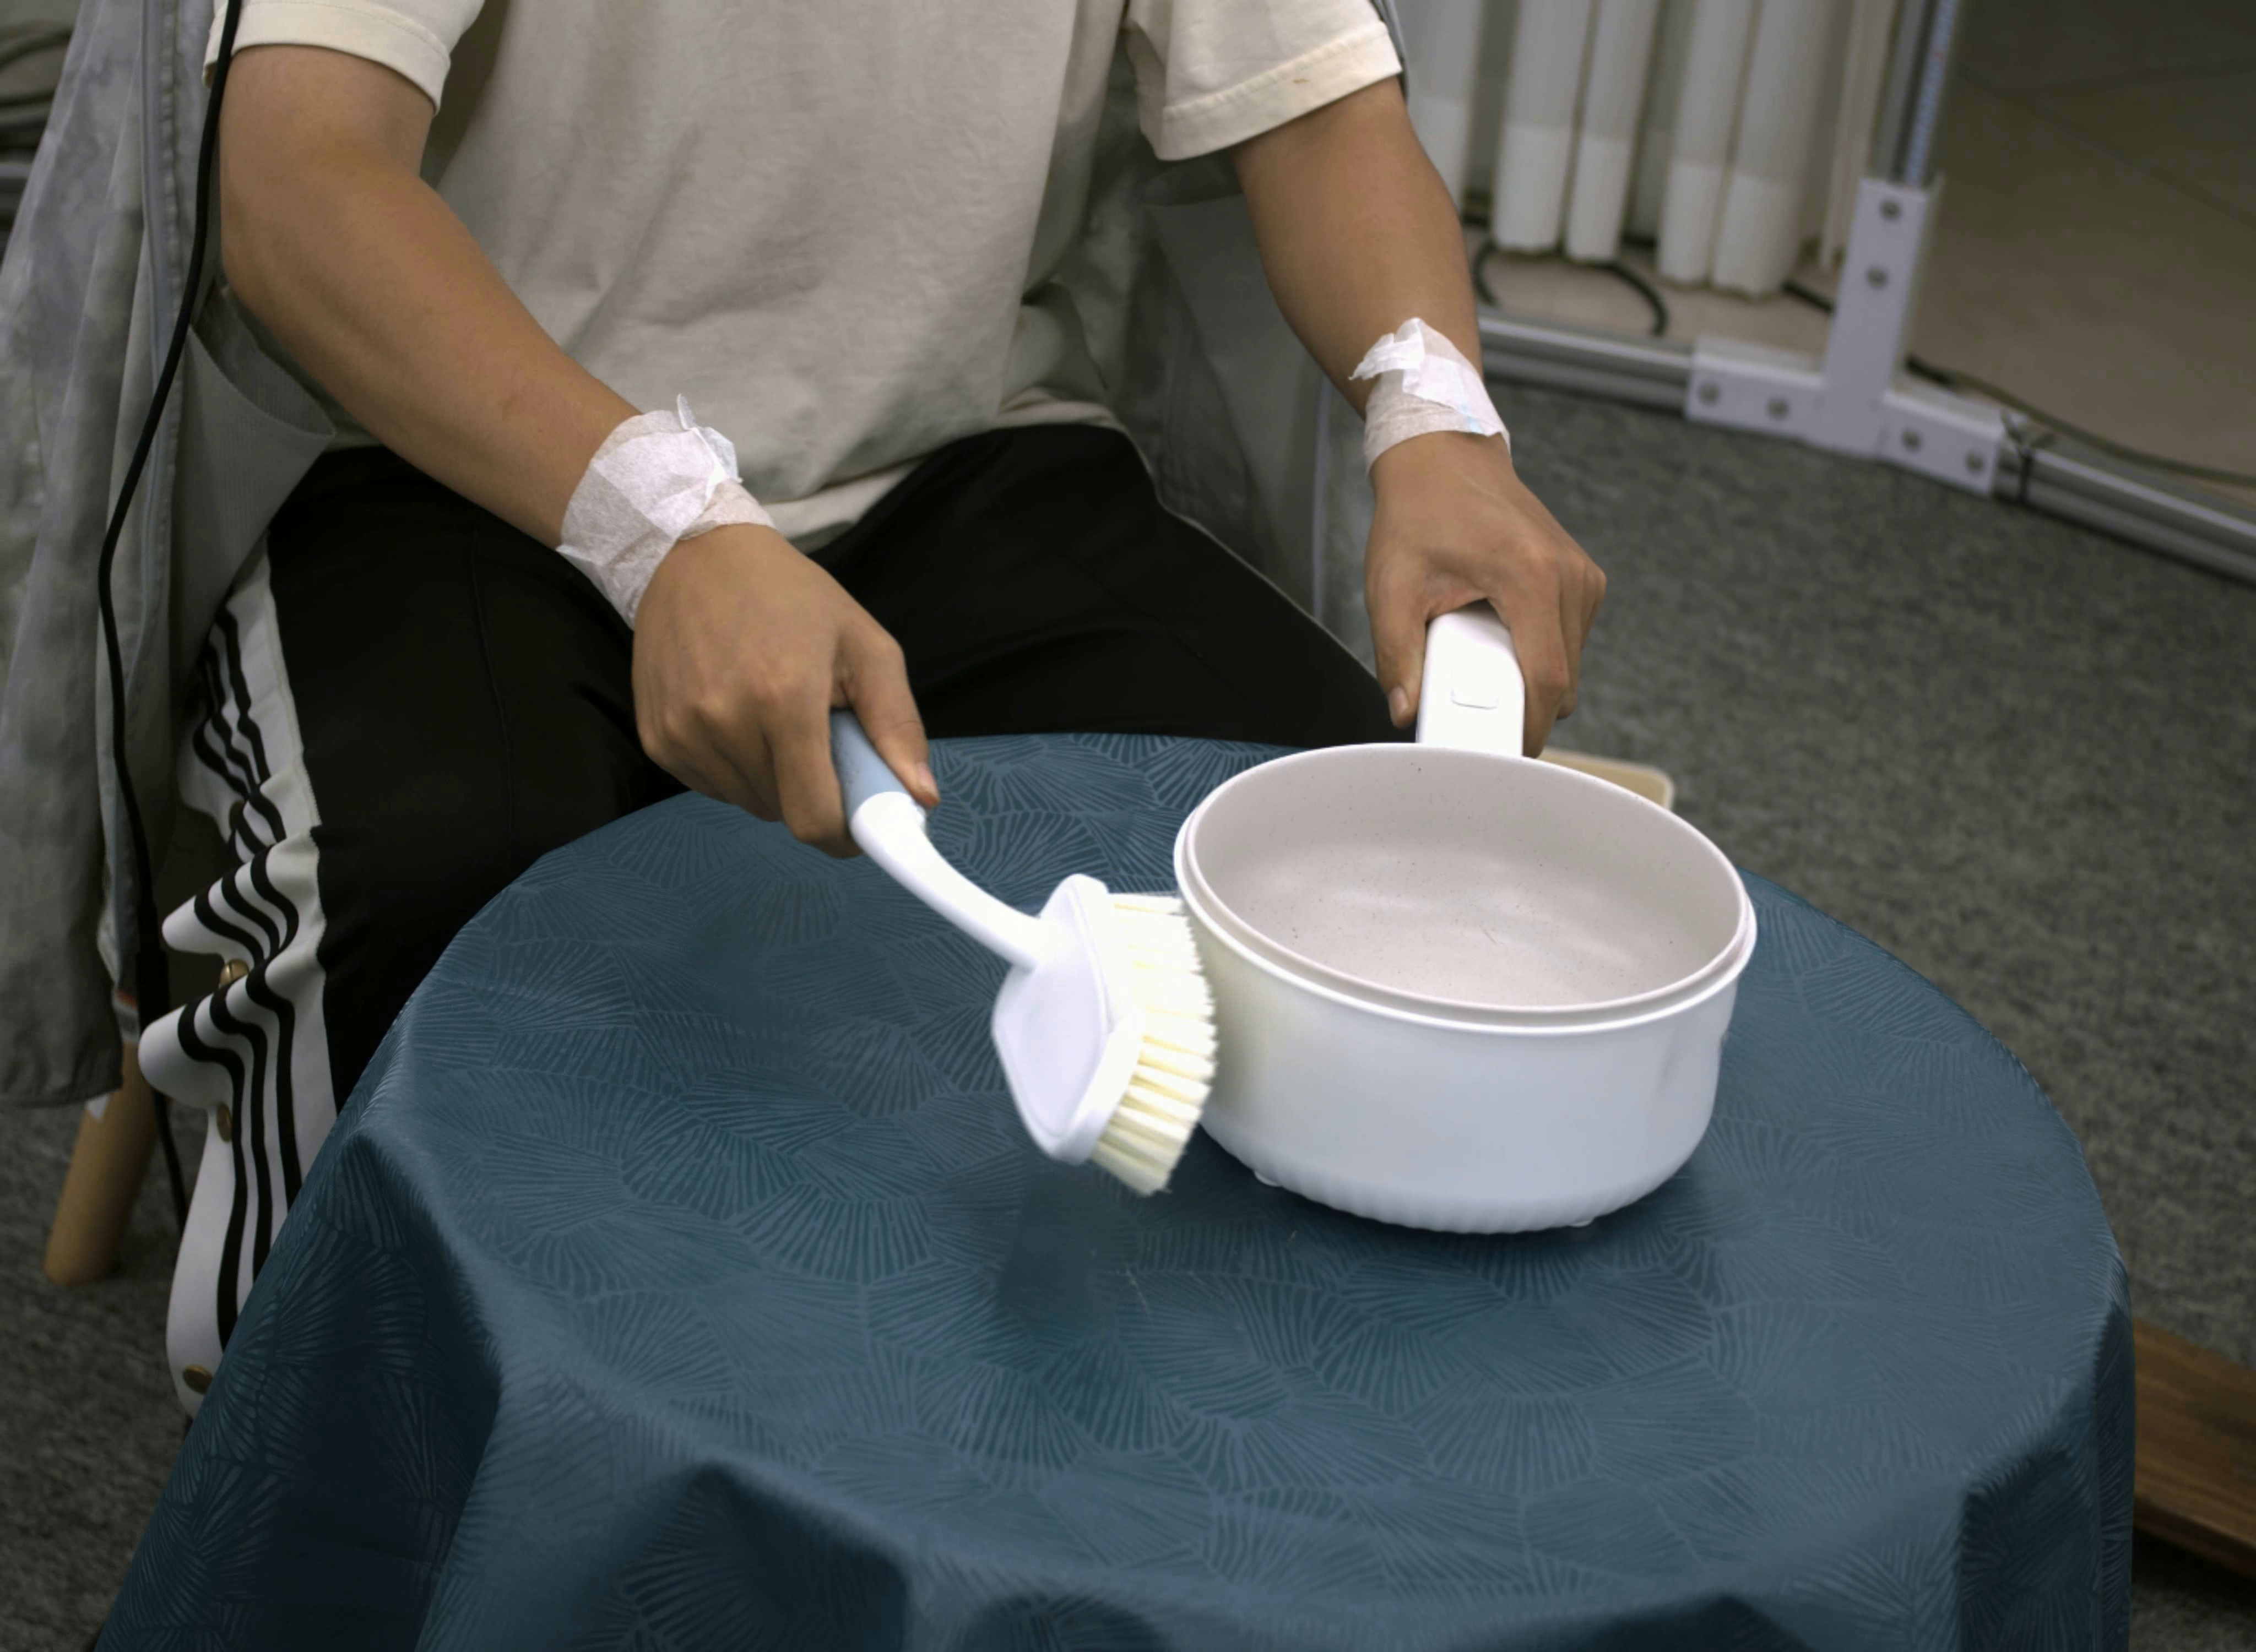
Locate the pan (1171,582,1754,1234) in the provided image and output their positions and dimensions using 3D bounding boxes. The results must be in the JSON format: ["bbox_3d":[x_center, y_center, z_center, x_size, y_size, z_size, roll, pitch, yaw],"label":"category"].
[{"bbox_3d":[0.116,0.026,1.913,0.201,0.102,0.356,7,26,2],"label":"pan"}]

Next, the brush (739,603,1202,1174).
[{"bbox_3d":[-0.042,0.013,1.829,0.083,0.084,0.328,-32,39,-2],"label":"brush"}]
